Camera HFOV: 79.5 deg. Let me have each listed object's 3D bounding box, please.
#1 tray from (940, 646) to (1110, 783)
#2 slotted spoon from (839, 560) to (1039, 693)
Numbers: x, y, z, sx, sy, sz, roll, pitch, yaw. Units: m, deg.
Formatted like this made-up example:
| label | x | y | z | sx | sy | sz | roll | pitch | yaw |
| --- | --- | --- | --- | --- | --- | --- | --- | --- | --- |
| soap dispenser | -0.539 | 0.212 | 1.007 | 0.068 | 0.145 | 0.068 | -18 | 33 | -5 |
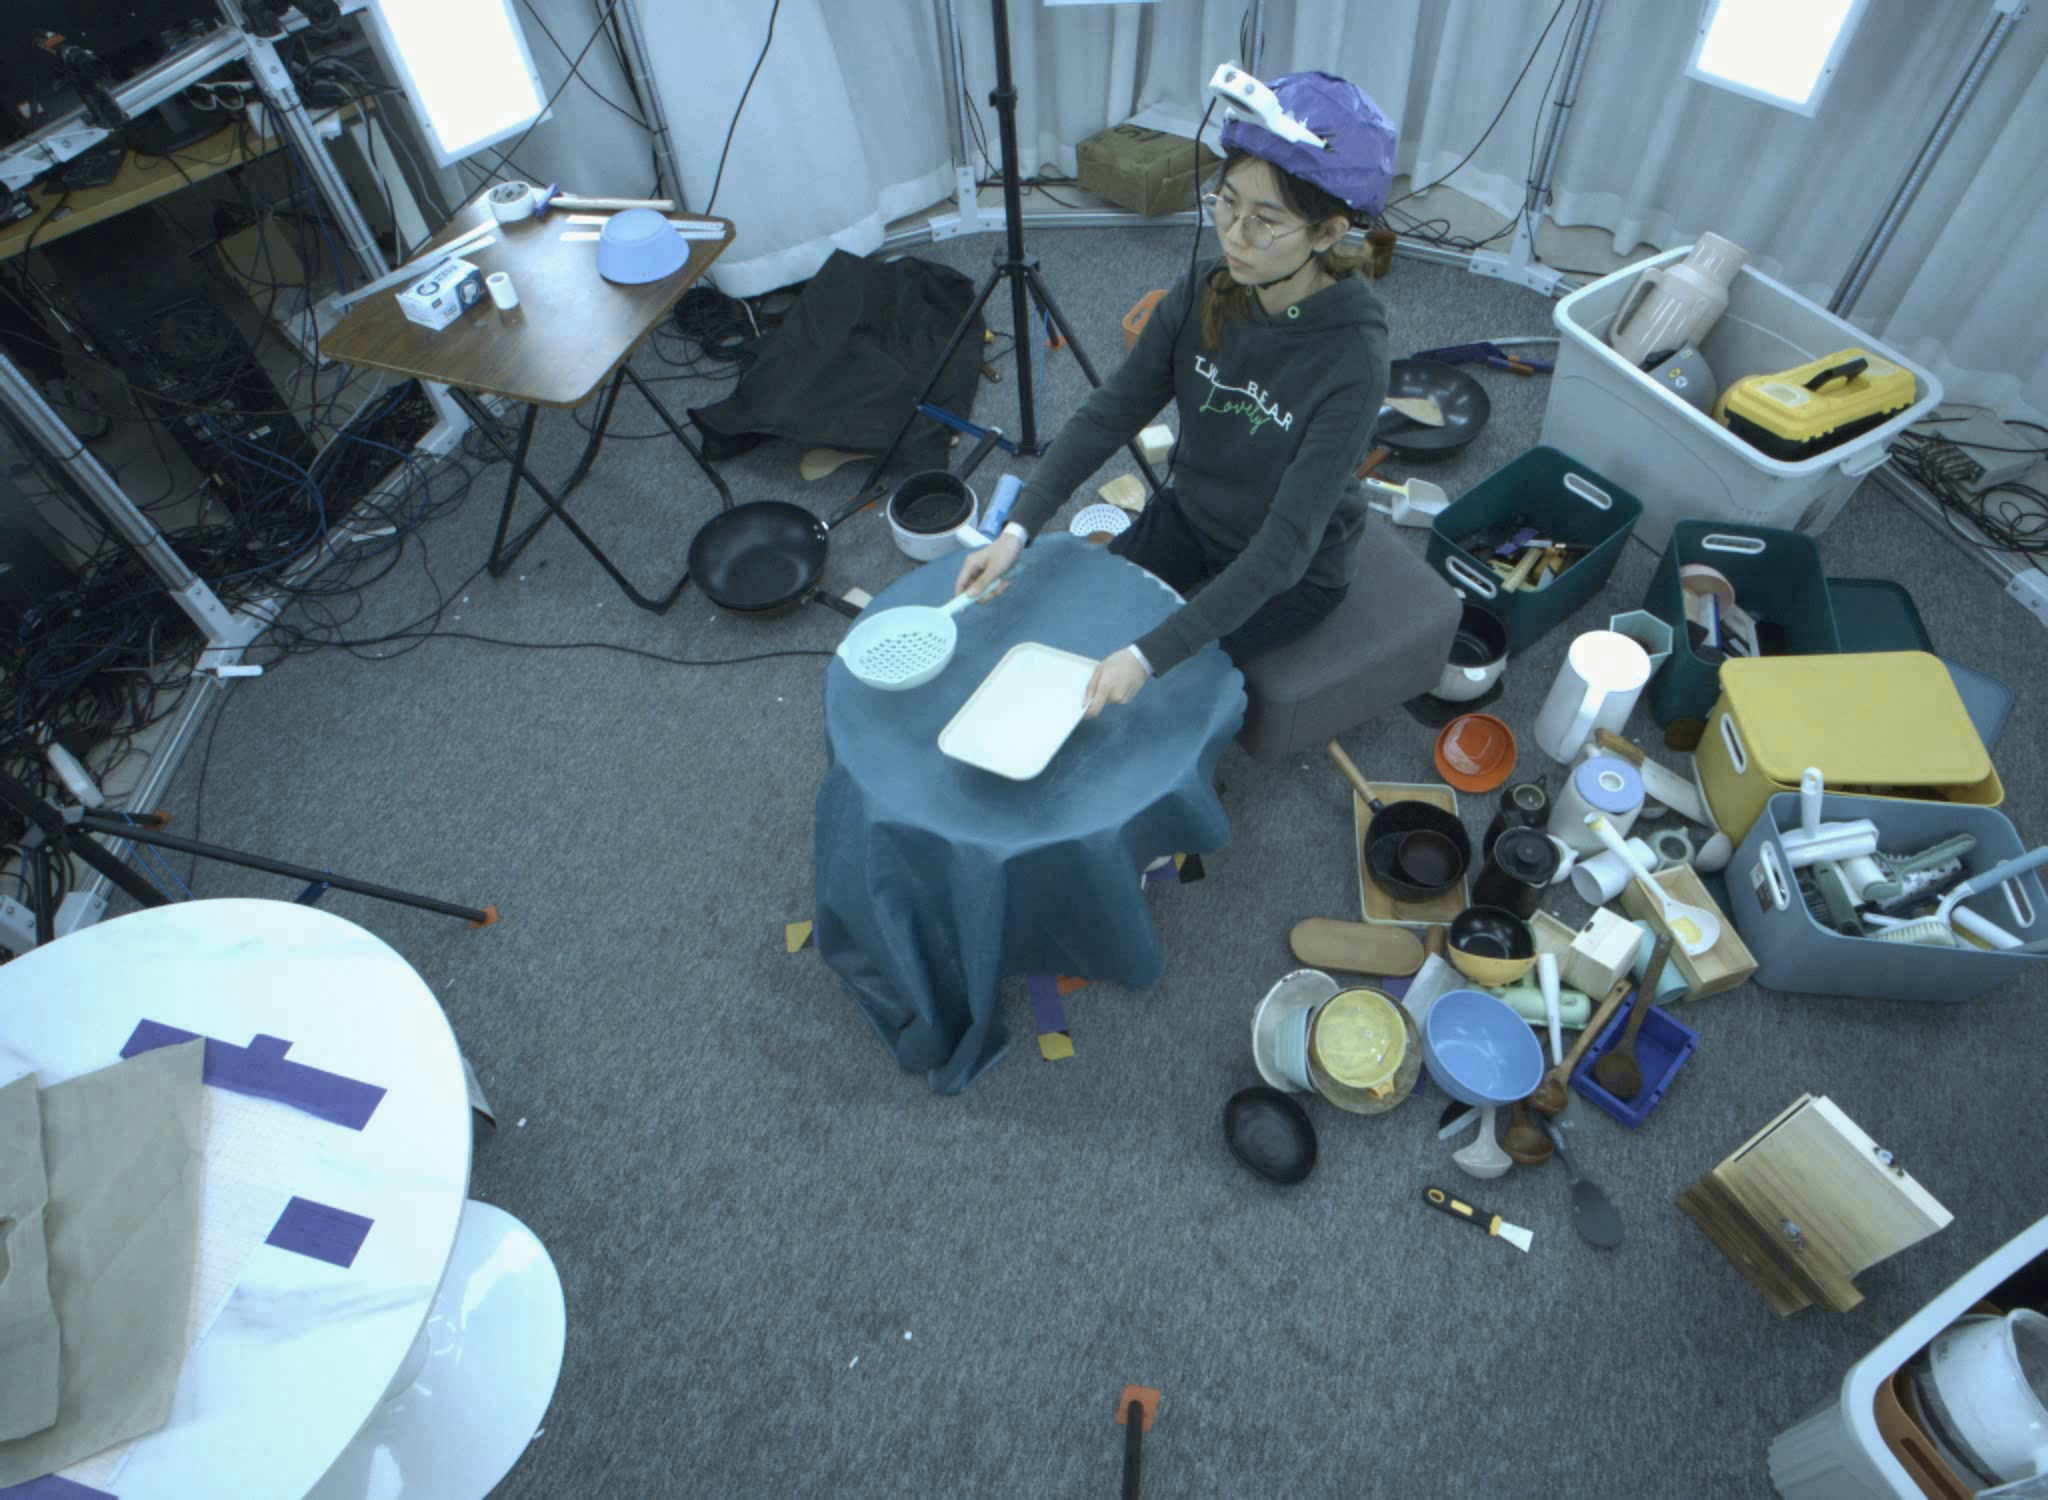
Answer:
| label | x | y | z | sx | sy | sz | roll | pitch | yaw |
| --- | --- | --- | --- | --- | --- | --- | --- | --- | --- |
| tray | 0.004 | -0.052 | 1.743 | 0.168 | 0.018 | 0.240 | 20 | 54 | 26 |
| slotted spoon | -0.110 | -0.200 | 1.837 | 0.165 | 0.076 | 0.361 | 31 | 65 | 33 |
